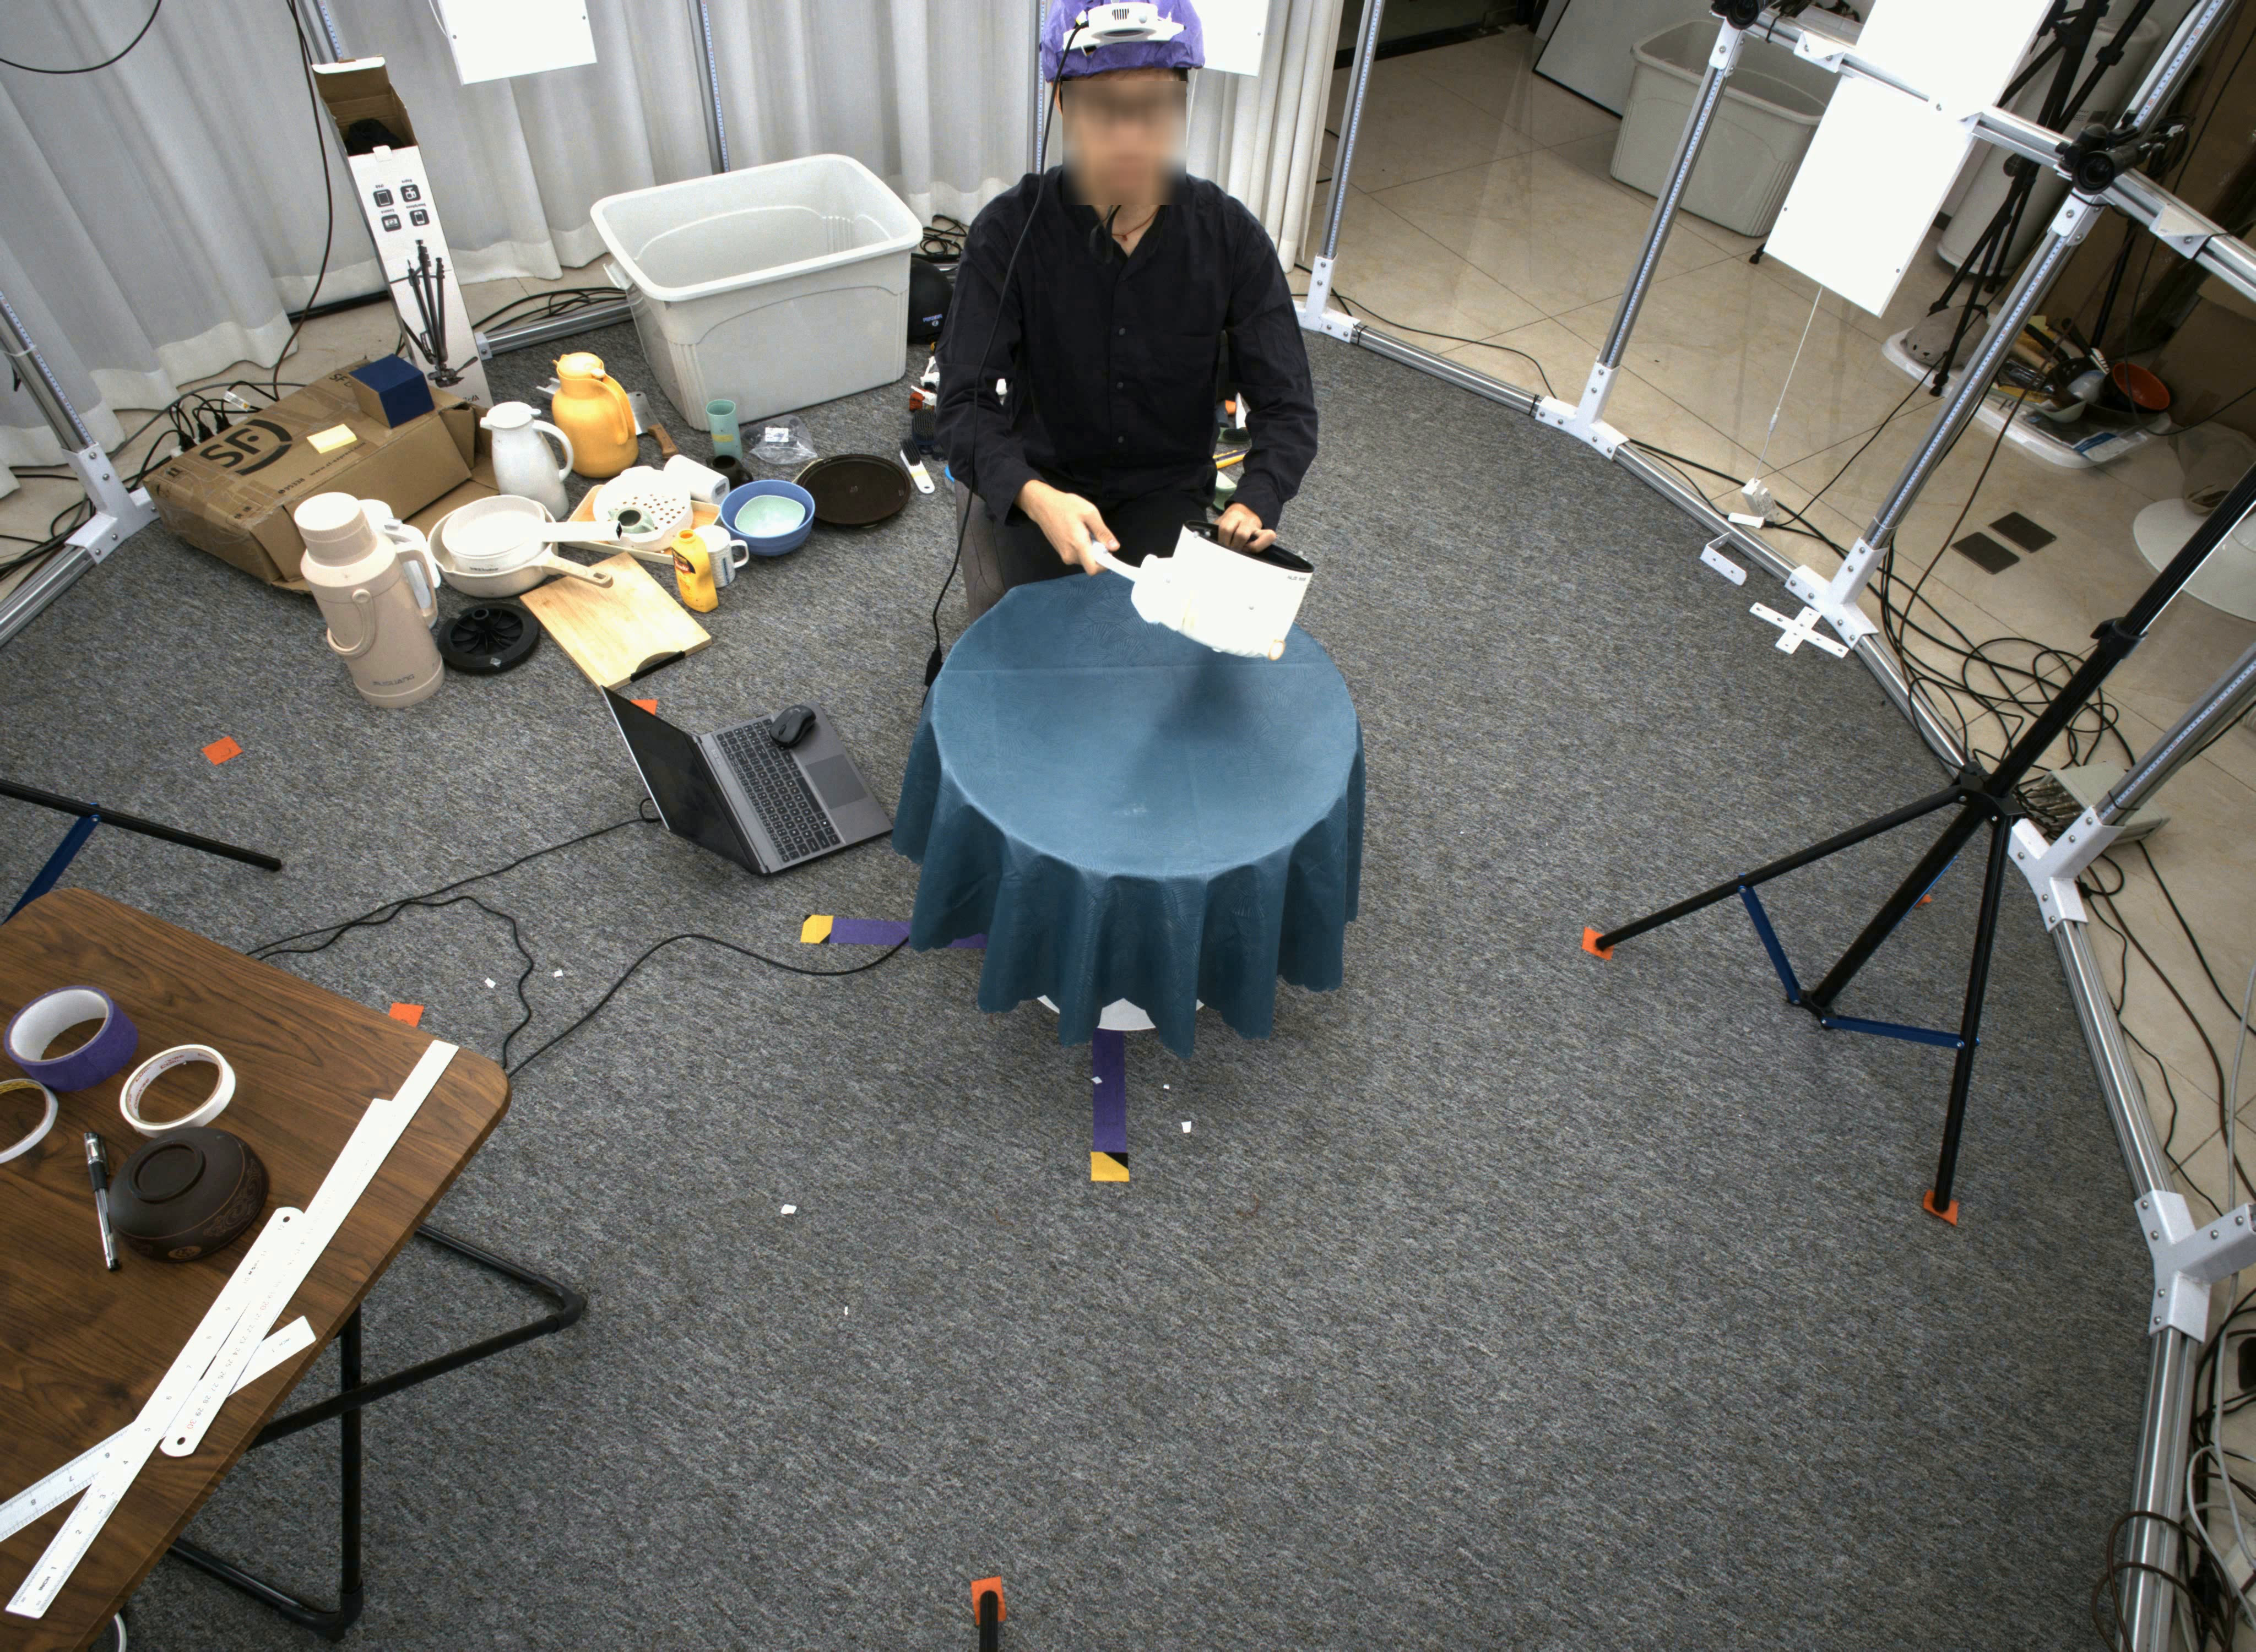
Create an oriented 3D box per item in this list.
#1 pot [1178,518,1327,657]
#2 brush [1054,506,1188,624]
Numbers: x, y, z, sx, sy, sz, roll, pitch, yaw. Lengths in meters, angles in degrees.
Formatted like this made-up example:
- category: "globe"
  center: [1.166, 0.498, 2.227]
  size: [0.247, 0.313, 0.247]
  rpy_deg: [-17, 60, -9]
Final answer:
- category: "pot"
  center: [0.160, -0.311, 1.706]
  size: [0.193, 0.141, 0.240]
  rpy_deg: [31, 24, 36]
- category: "brush"
  center: [0.004, -0.358, 1.714]
  size: [0.083, 0.083, 0.333]
  rpy_deg: [-42, 43, 4]
